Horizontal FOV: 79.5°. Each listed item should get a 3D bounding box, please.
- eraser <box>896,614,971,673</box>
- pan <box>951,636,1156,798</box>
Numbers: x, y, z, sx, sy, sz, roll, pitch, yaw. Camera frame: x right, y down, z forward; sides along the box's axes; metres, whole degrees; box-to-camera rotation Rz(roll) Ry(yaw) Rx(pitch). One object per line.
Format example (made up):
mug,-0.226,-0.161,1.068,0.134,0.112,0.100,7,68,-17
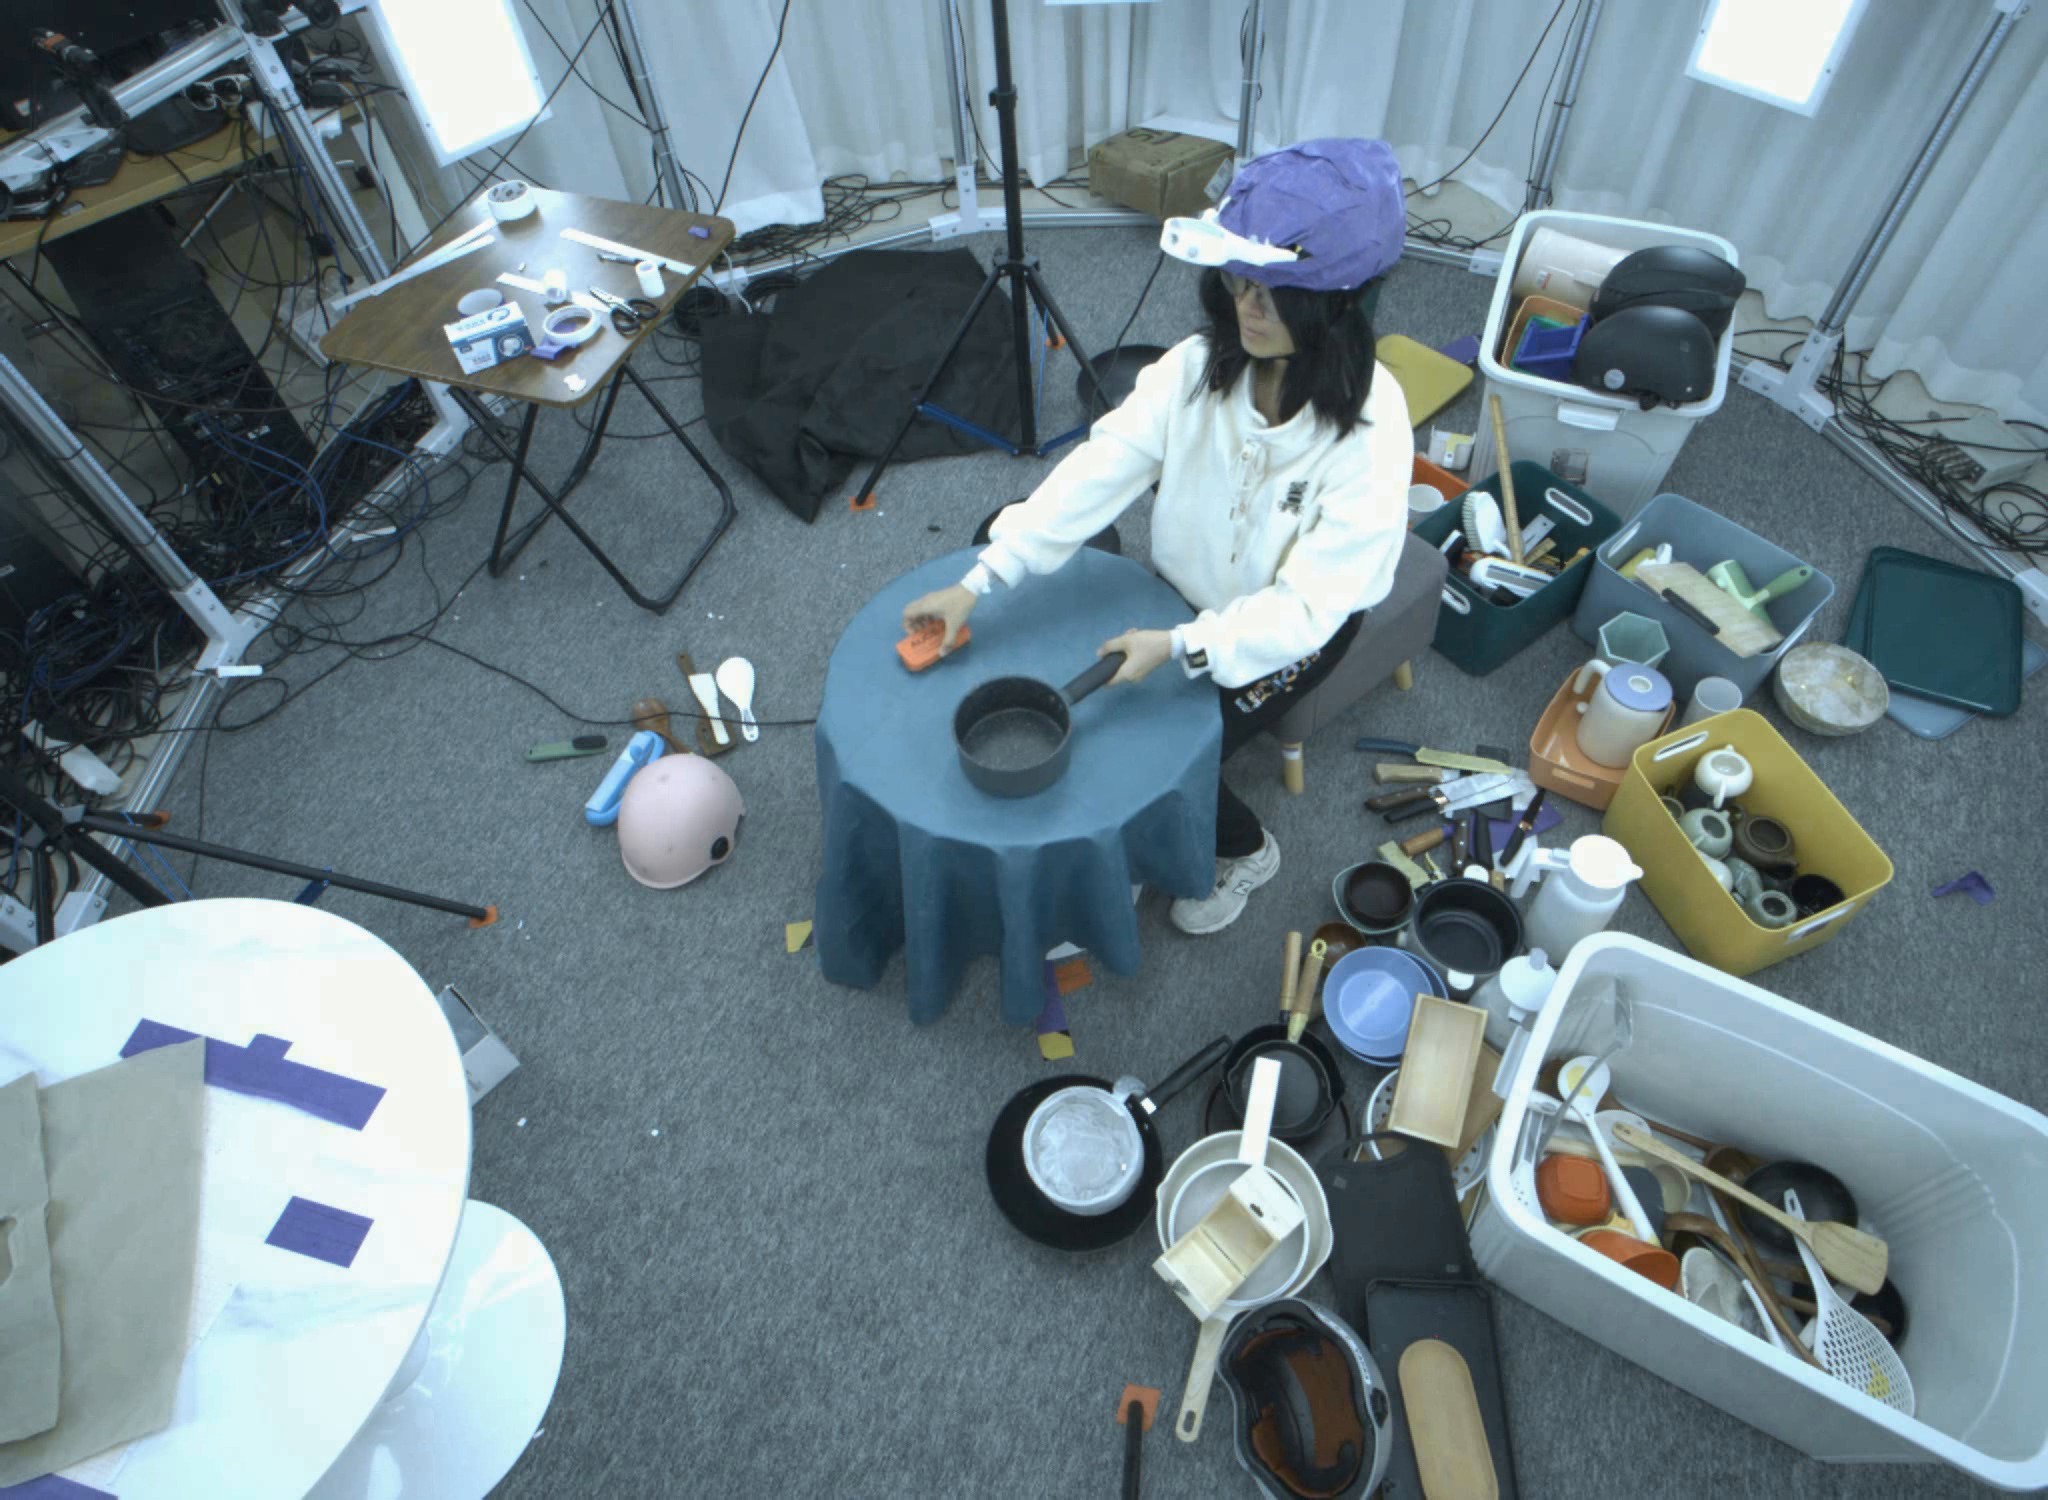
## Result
eraser,-0.140,-0.164,1.894,0.109,0.023,0.058,-33,59,-19
pan,0.051,-0.058,1.775,0.331,0.087,0.169,-31,59,-16
